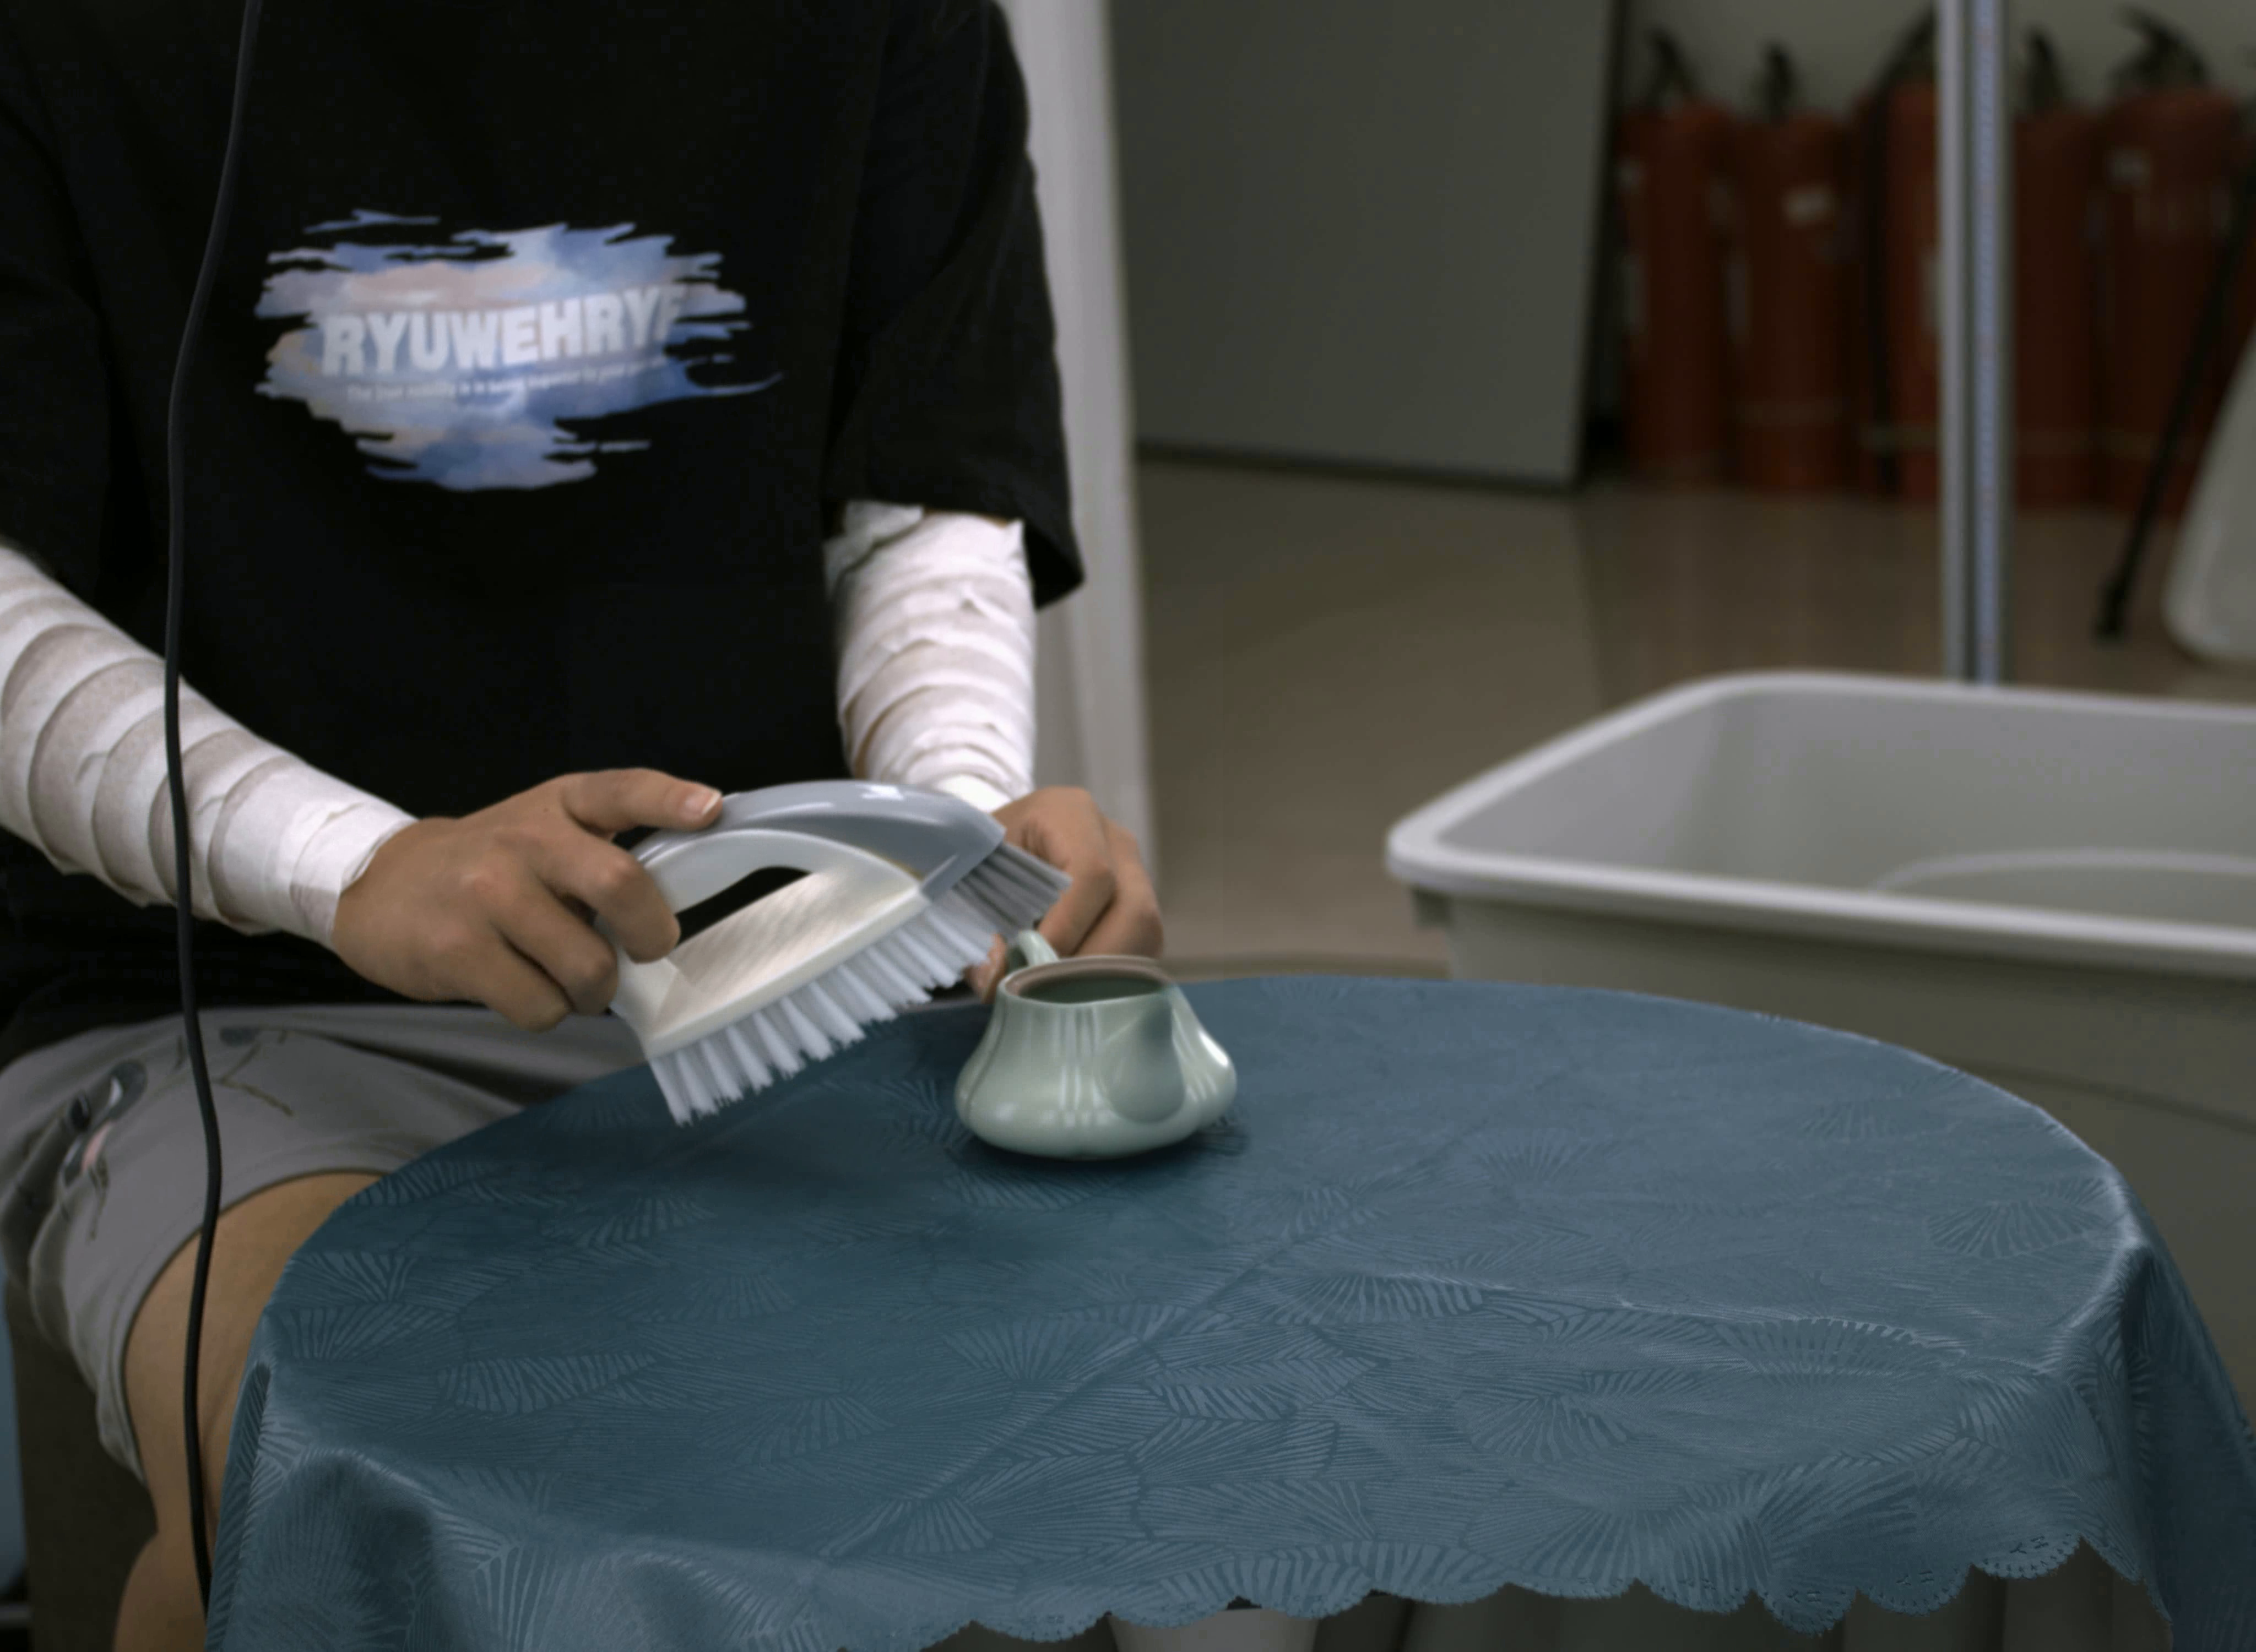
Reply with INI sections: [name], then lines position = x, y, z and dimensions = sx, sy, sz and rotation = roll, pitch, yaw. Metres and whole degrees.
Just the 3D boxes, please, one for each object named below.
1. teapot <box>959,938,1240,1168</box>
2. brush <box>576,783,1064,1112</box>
[teapot]
position = -0.012, 0.078, 1.828
dimensions = 0.094, 0.062, 0.138
rotation = -12, 15, -23
[brush]
position = -0.110, 0.025, 1.793
dimensions = 0.176, 0.093, 0.061
rotation = -25, 30, 34
